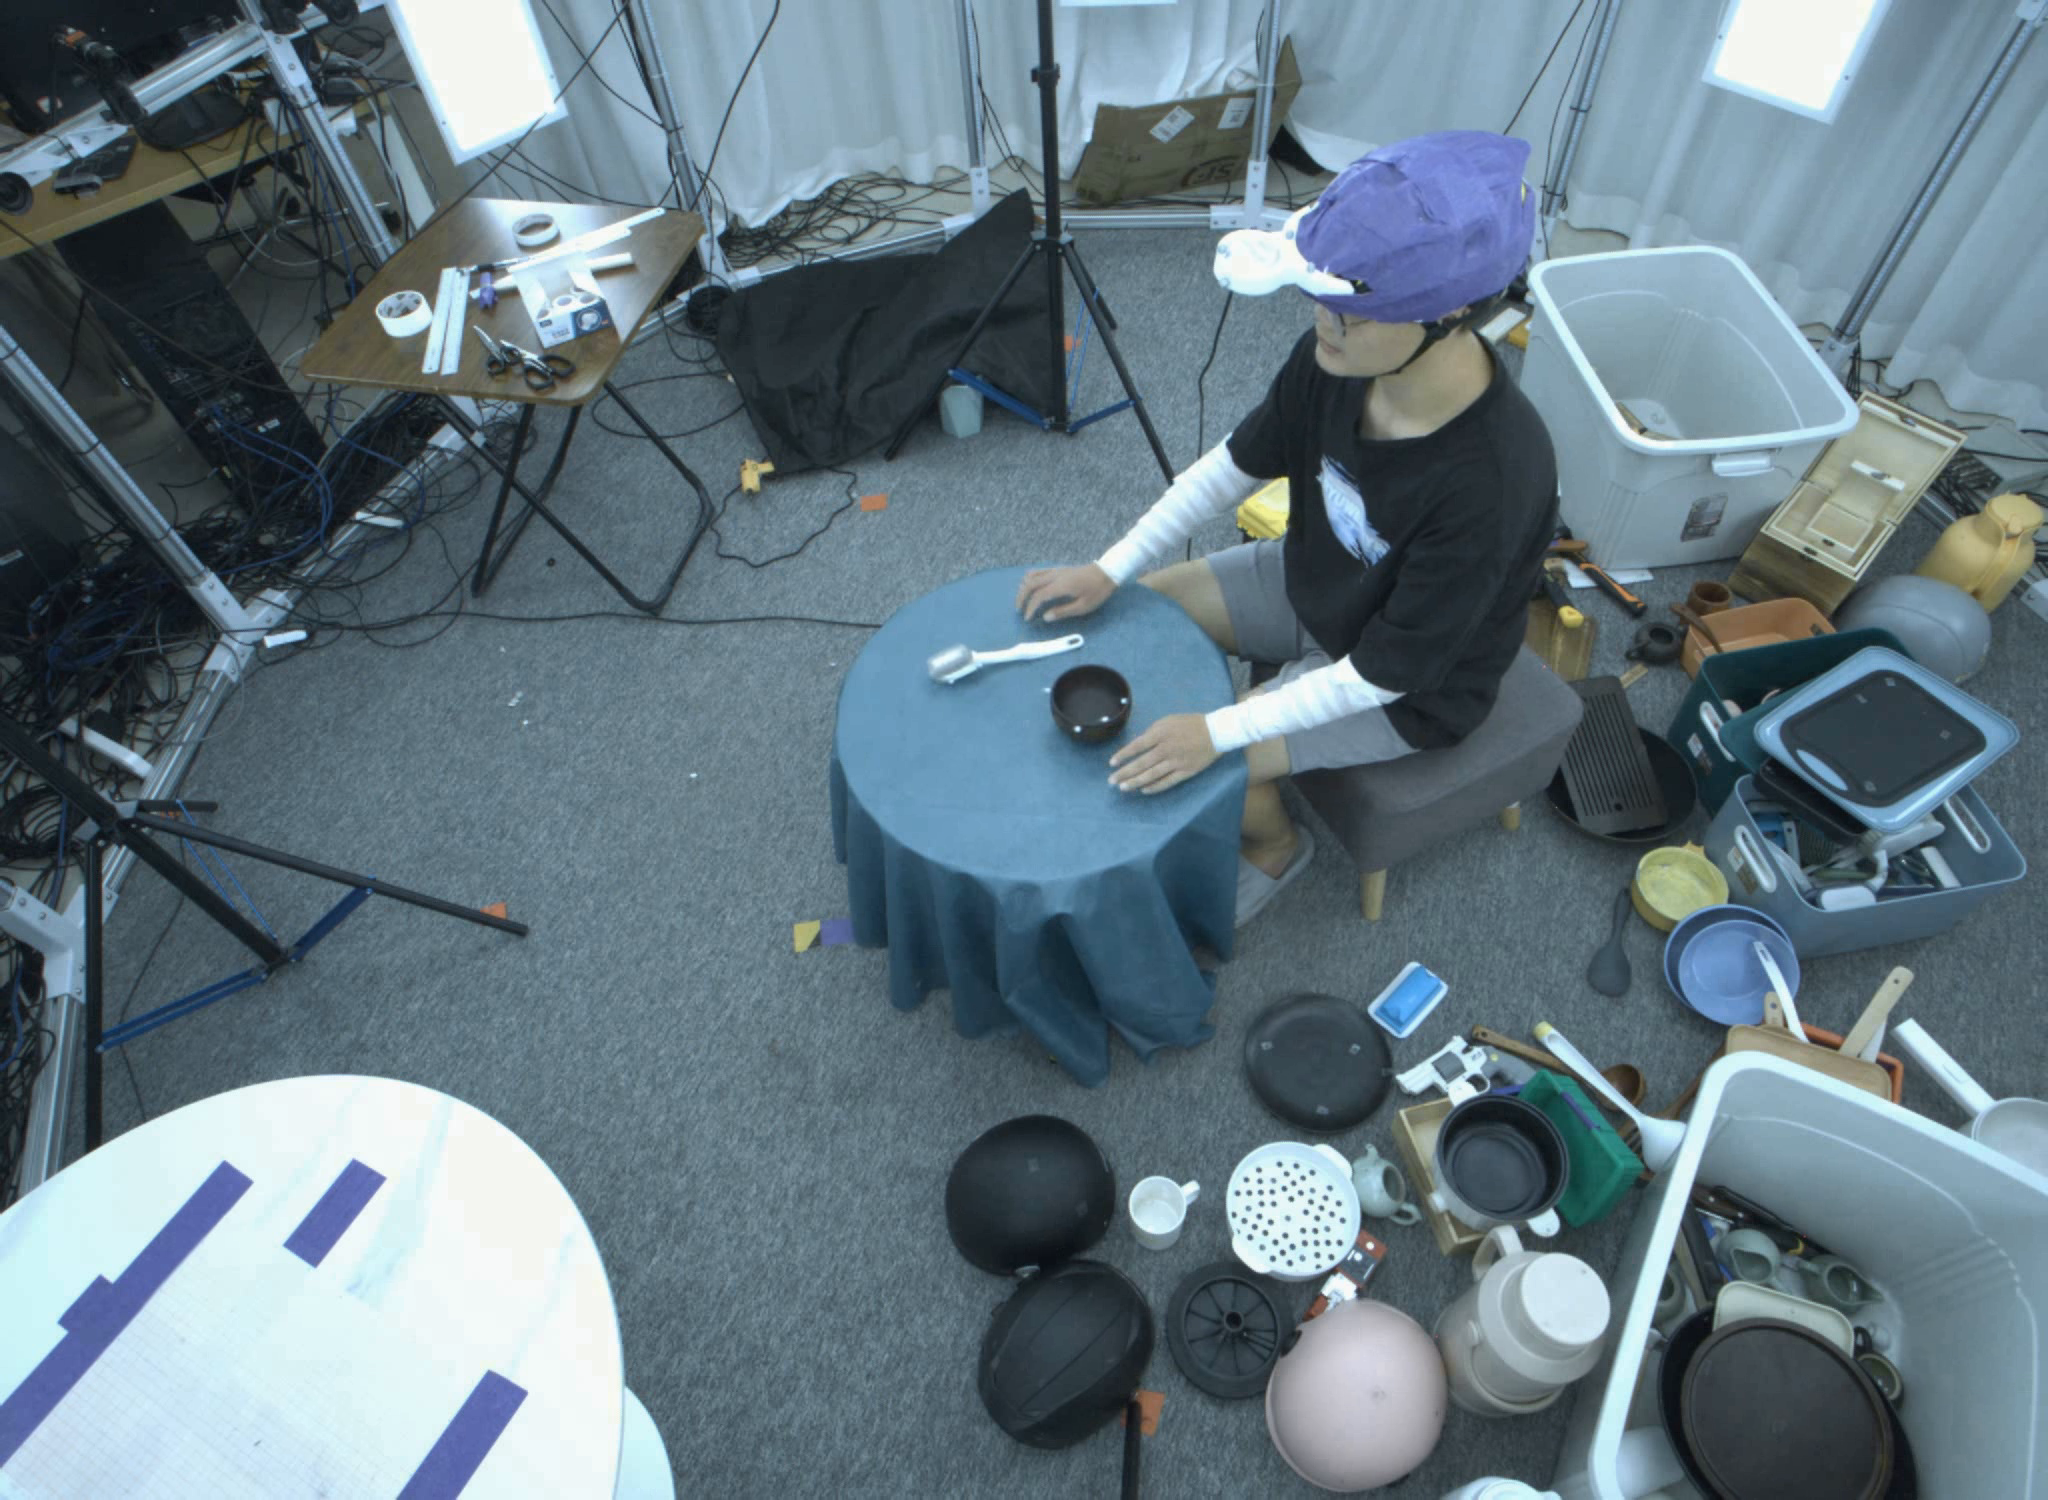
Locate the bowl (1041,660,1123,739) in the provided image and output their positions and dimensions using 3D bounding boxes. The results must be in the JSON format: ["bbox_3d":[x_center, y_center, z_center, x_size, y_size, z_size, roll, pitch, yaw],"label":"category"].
[{"bbox_3d":[0.083,-0.064,1.776,0.118,0.070,0.117,0,53,1],"label":"bowl"}]

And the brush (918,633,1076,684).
[{"bbox_3d":[-0.039,-0.152,1.857,0.245,0.051,0.034,-15,56,-7],"label":"brush"}]
